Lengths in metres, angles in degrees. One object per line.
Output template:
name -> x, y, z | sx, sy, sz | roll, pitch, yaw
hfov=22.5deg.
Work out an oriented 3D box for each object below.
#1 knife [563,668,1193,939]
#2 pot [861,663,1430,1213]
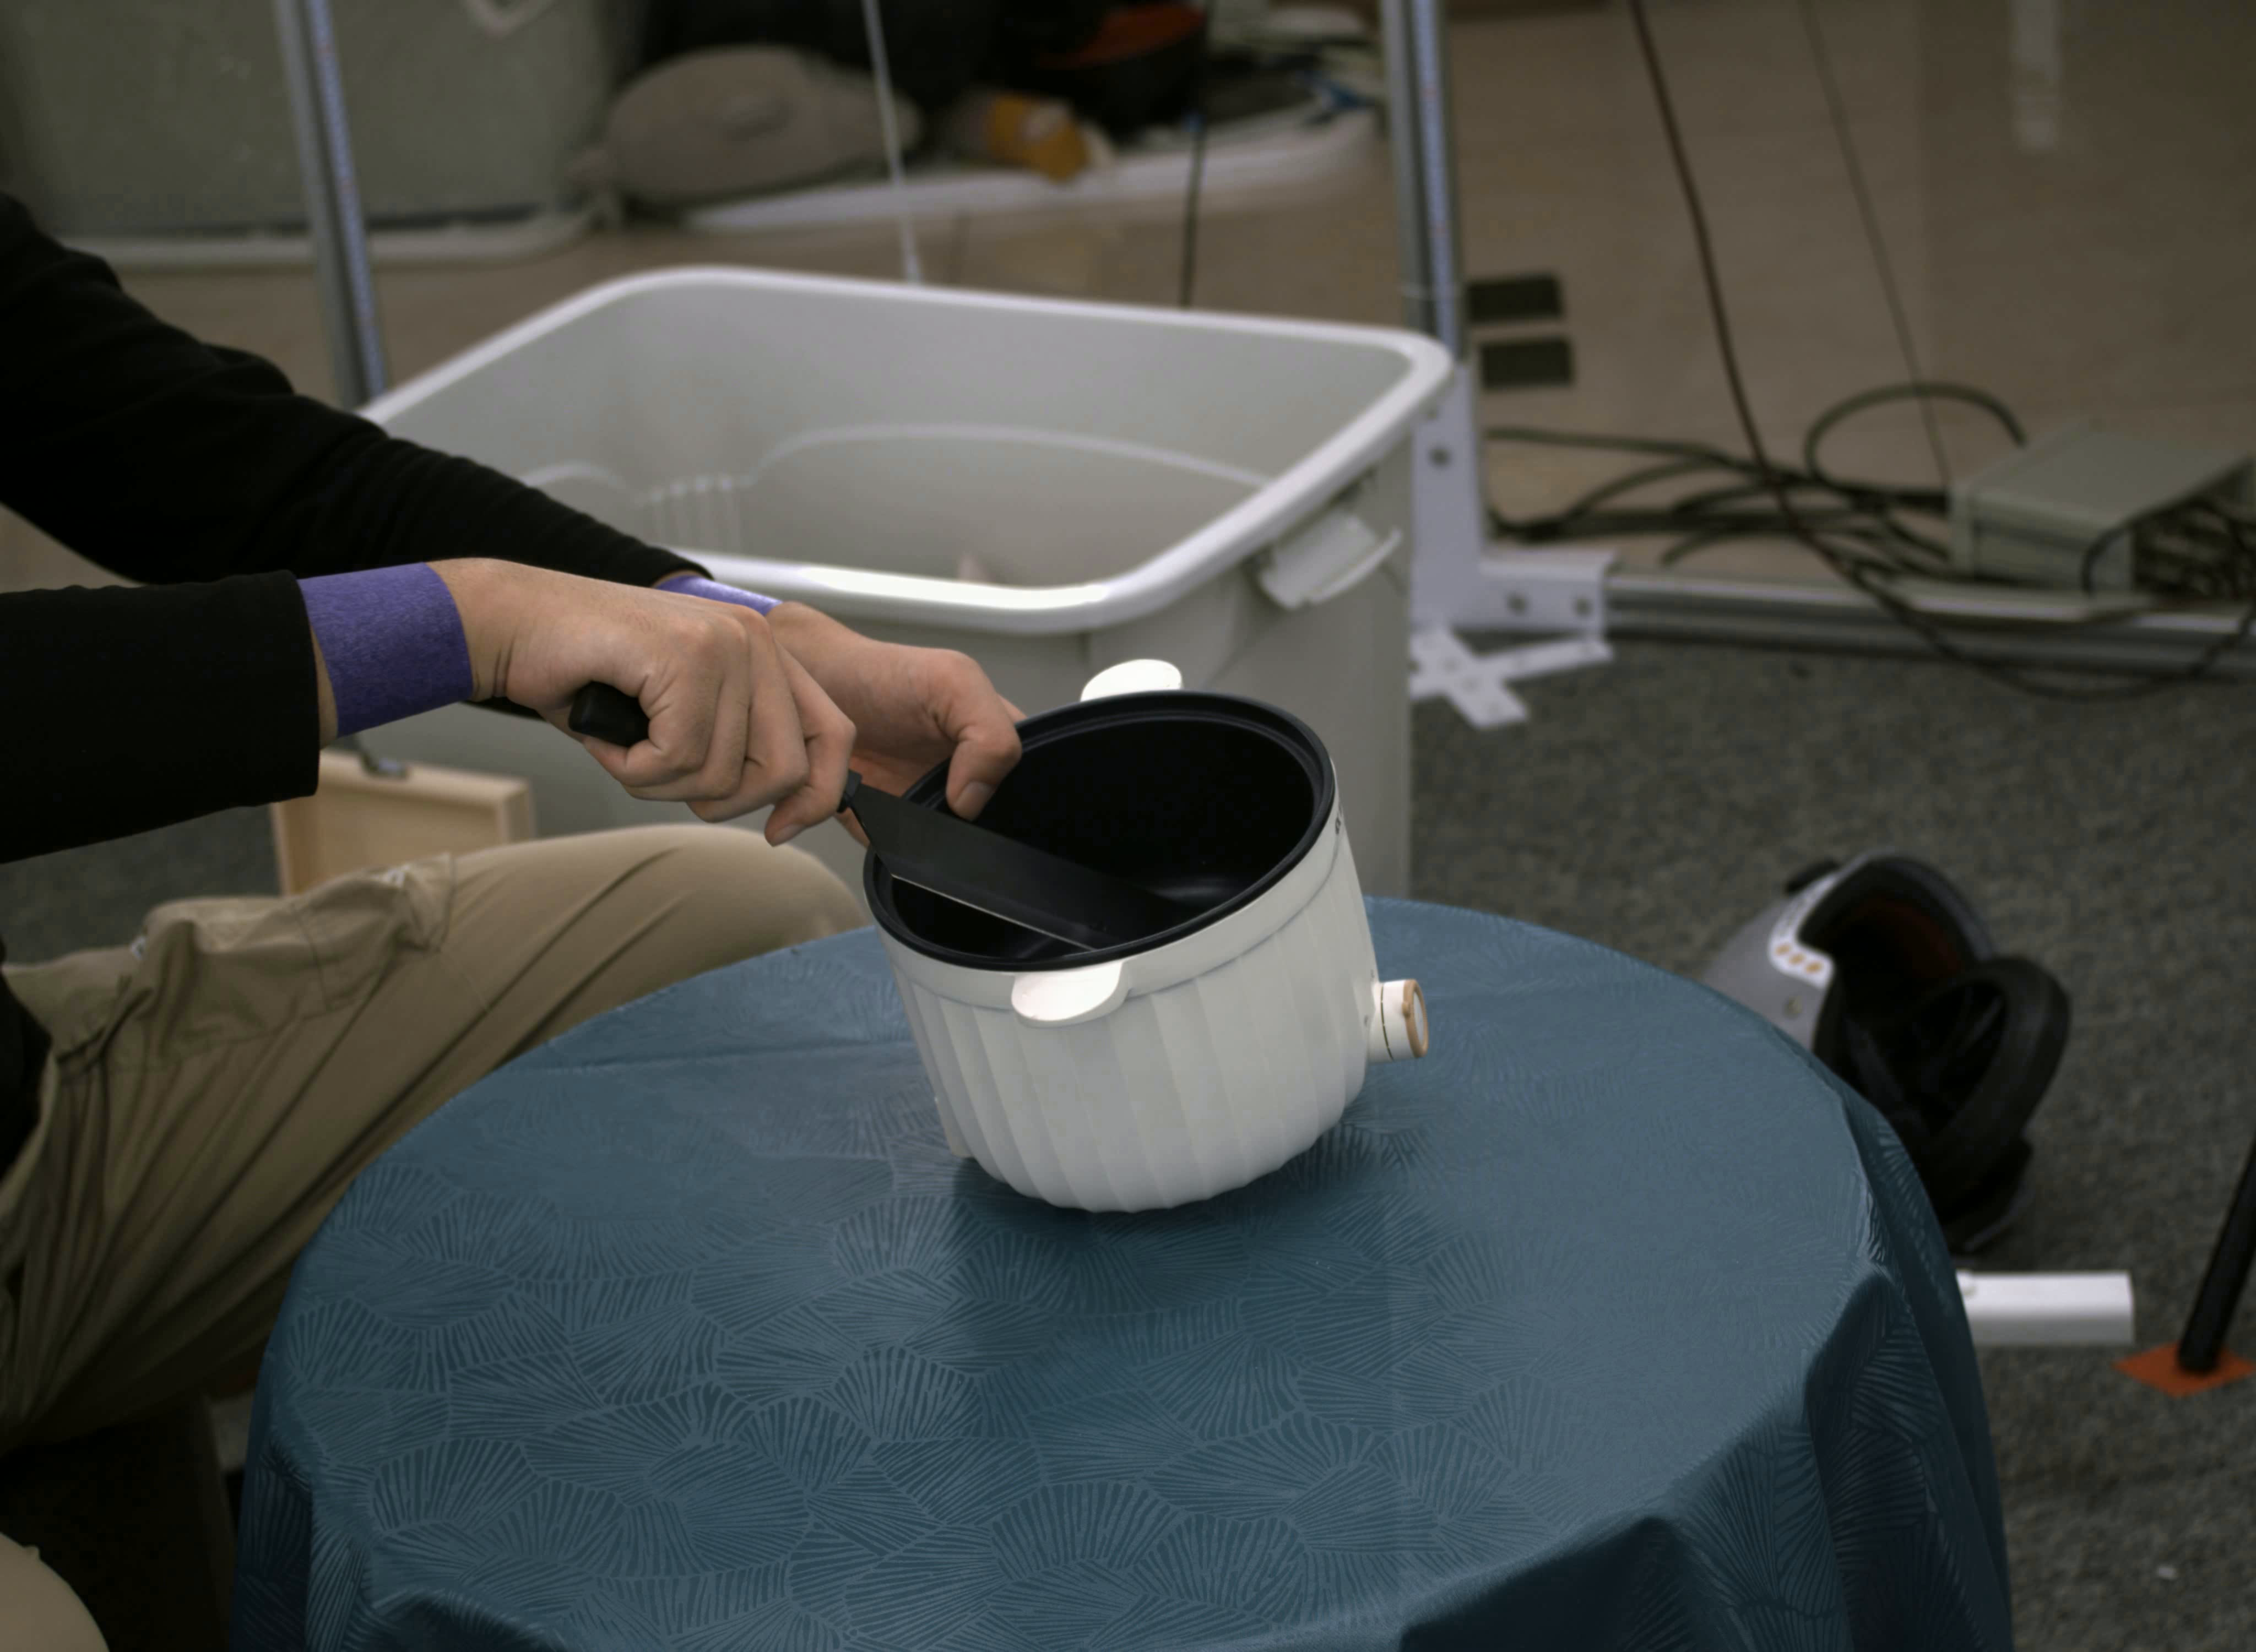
knife -> -0.077, 0.003, 2.054 | 0.304, 0.021, 0.079 | 23, 22, -32
pot -> 0.009, 0.052, 2.144 | 0.190, 0.145, 0.236 | -10, 33, 14
